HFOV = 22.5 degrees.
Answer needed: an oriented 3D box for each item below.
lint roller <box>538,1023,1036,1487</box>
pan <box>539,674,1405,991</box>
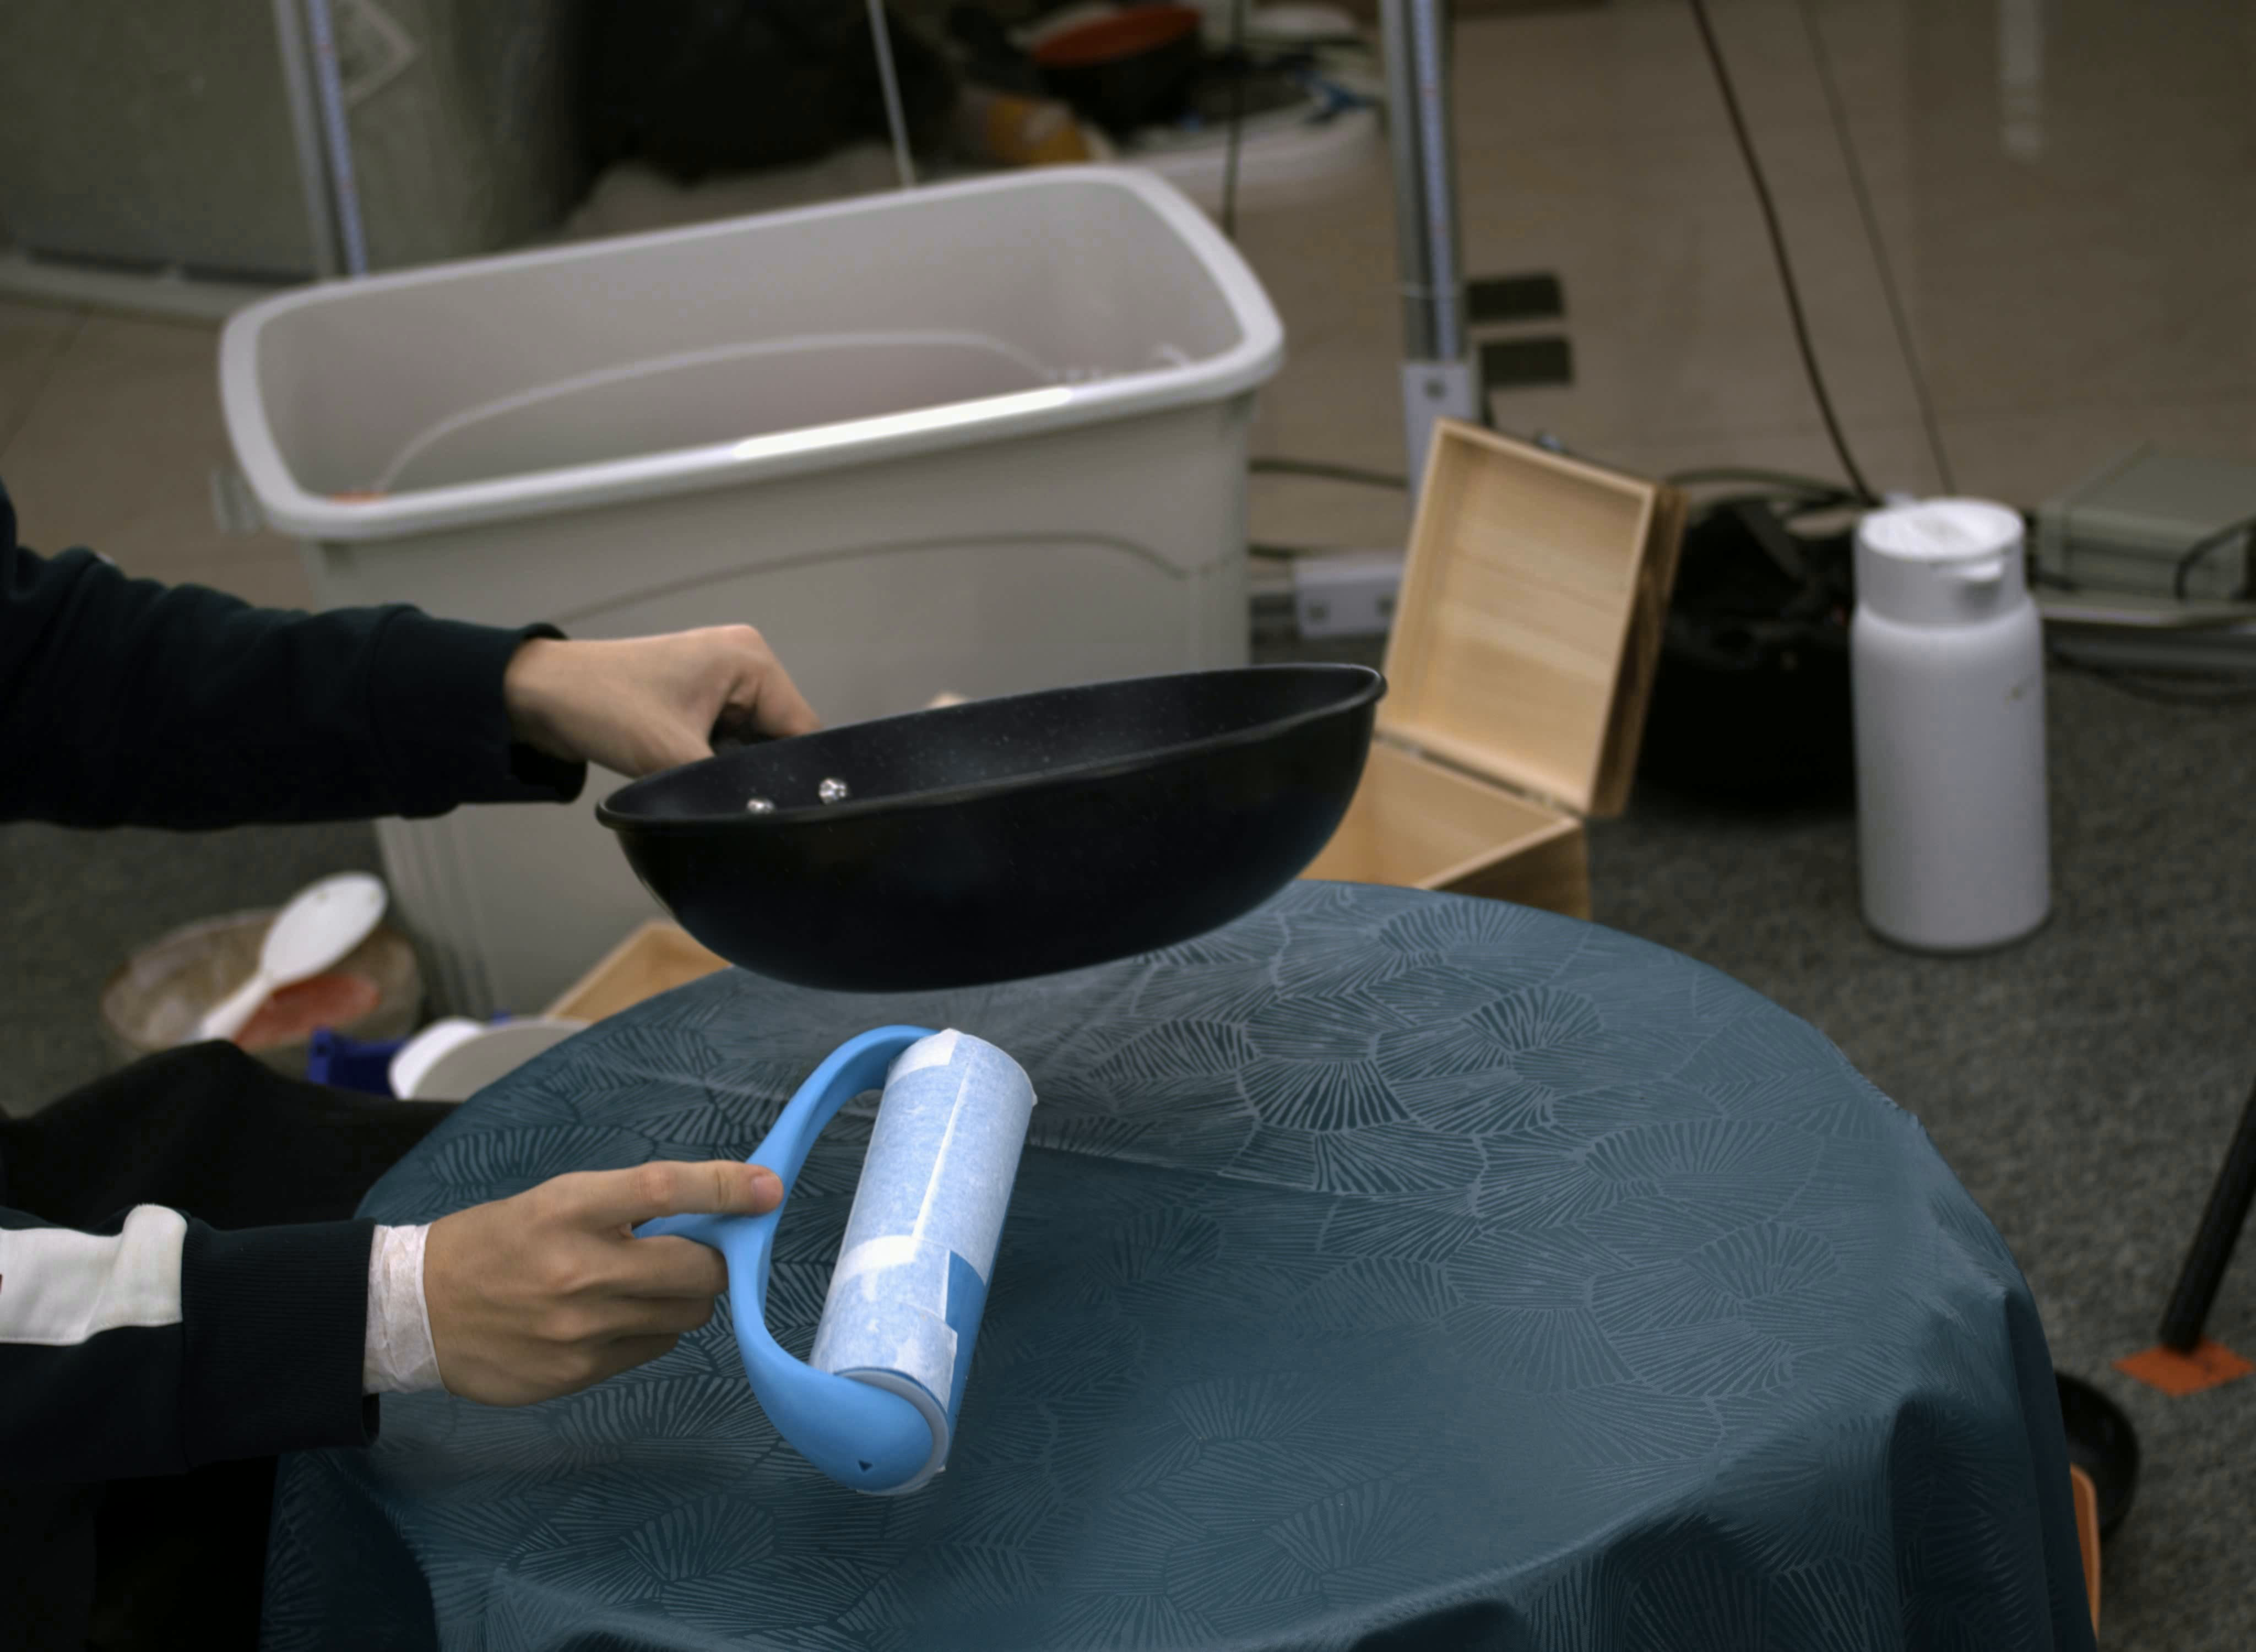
[{"bbox_3d":[-0.127,0.155,1.966,0.180,0.069,0.225,-9,33,10],"label":"lint roller"},{"bbox_3d":[-0.094,-0.004,2.238,0.309,0.112,0.476,-13,7,-37],"label":"pan"}]
